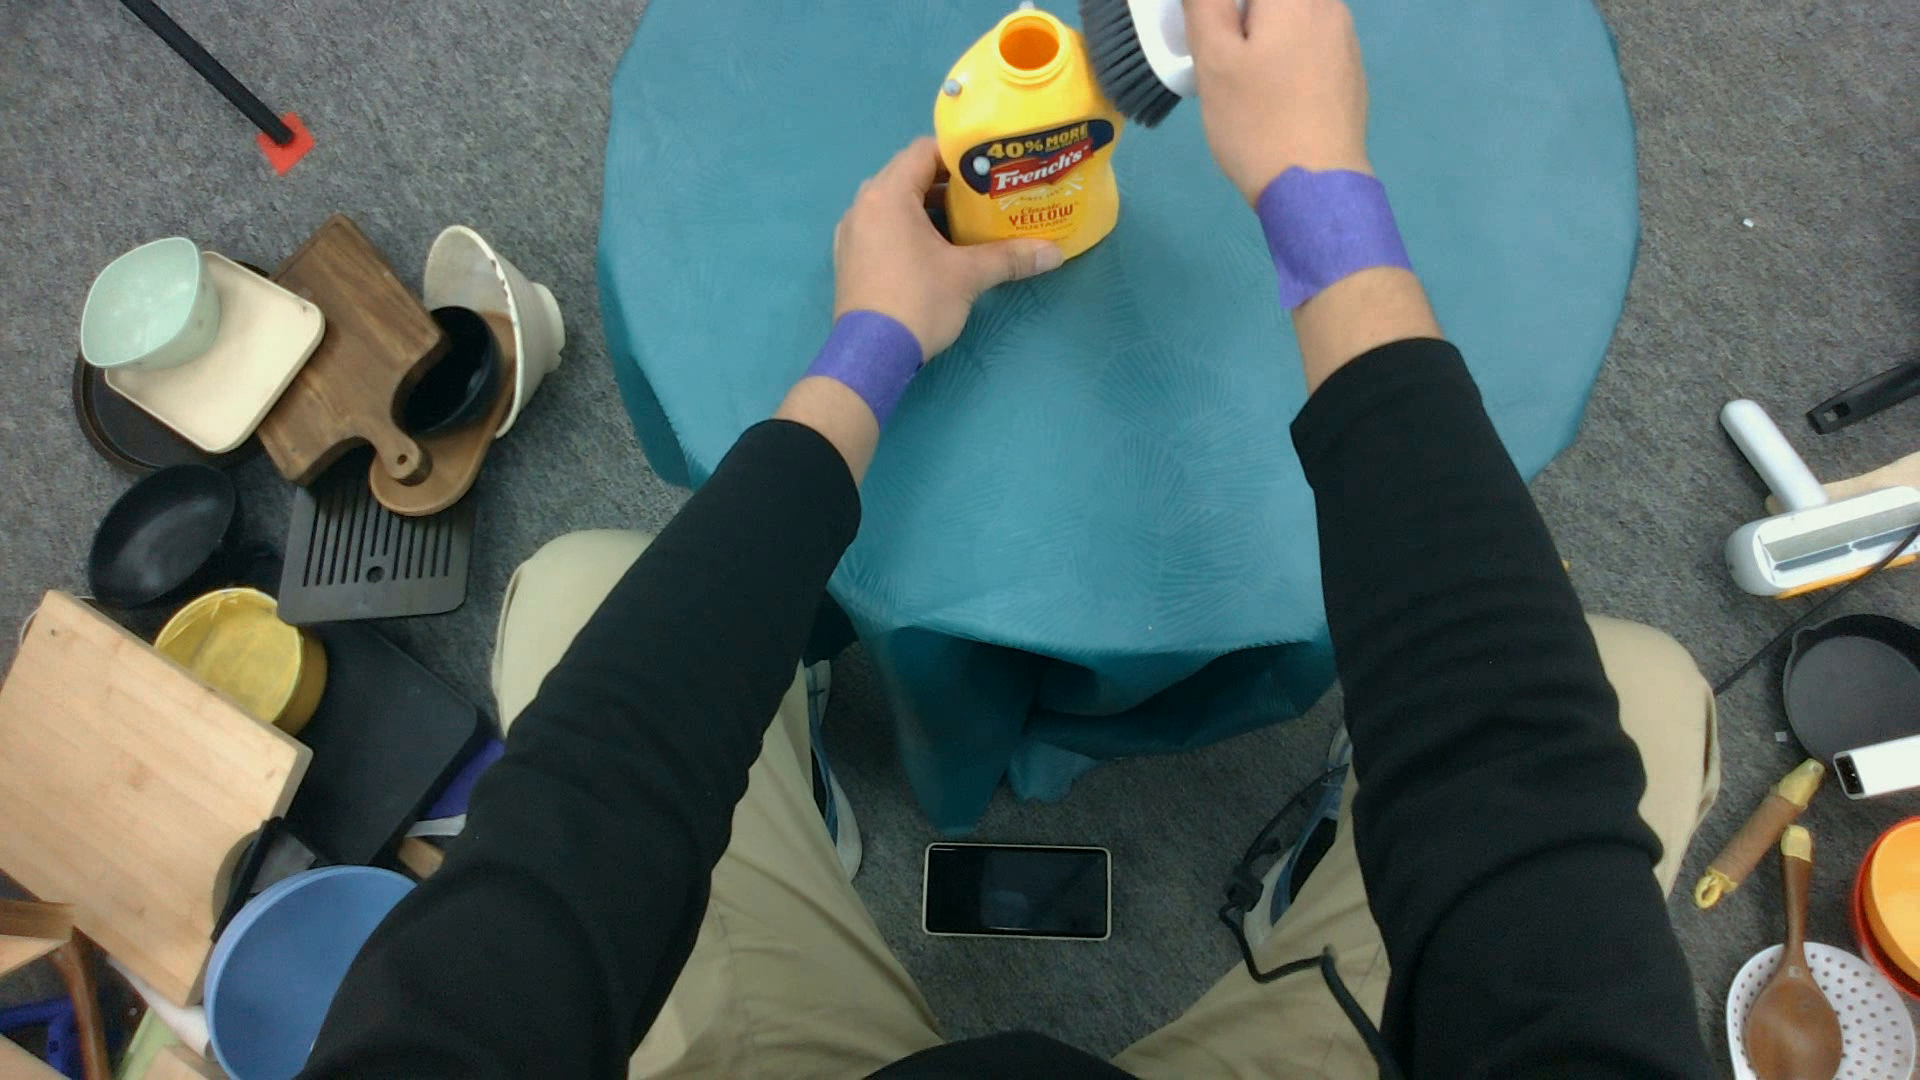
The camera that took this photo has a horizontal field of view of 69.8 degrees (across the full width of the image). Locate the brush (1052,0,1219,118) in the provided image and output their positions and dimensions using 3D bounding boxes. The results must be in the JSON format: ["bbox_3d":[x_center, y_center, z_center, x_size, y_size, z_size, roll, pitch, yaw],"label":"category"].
[{"bbox_3d":[0.086,-0.260,0.648,0.072,0.050,0.099,-28,66,39],"label":"brush"}]

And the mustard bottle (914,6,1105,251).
[{"bbox_3d":[0.027,-0.212,0.714,0.098,0.171,0.059,-14,77,-2],"label":"mustard bottle"}]
